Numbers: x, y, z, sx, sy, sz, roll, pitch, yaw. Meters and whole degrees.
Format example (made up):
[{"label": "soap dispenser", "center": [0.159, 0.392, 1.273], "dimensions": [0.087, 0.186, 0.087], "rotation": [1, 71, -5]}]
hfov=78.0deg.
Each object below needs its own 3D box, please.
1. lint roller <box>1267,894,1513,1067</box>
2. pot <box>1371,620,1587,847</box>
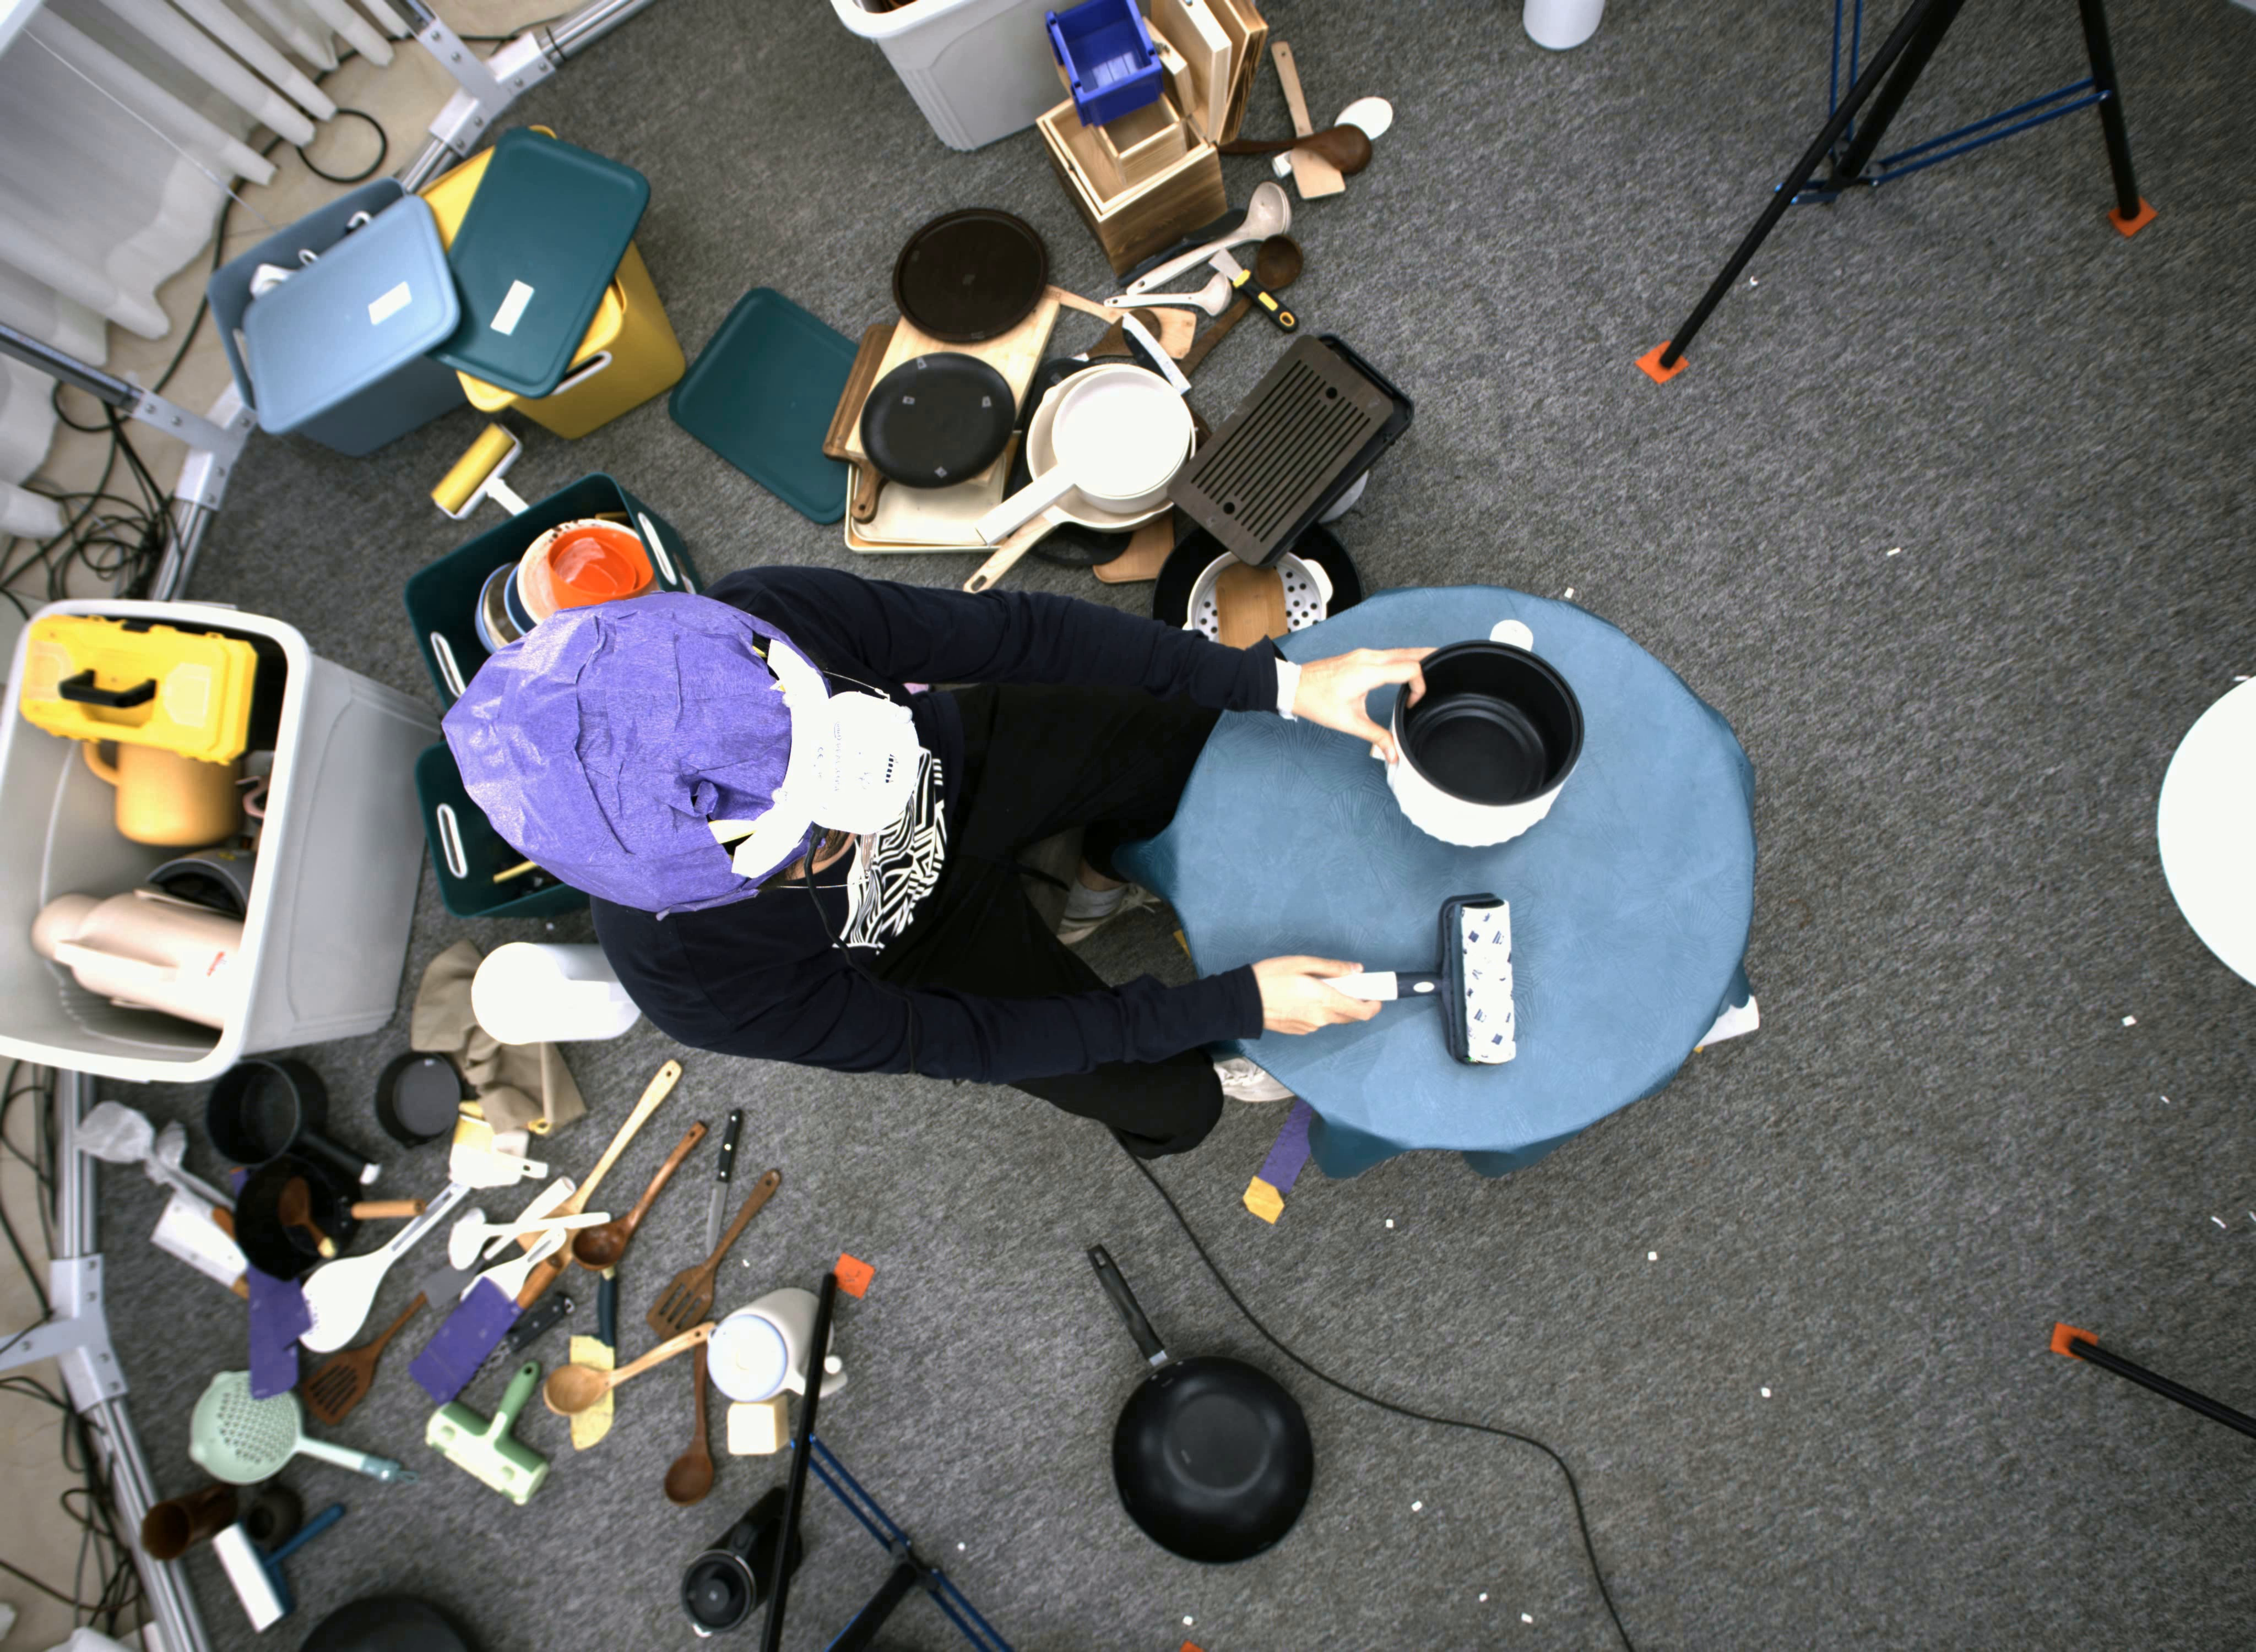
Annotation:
[{"label": "lint roller", "center": [0.264, 0.164, 1.407], "dimensions": [0.248, 0.050, 0.178], "rotation": [-6, 102, 8]}, {"label": "pot", "center": [0.344, -0.075, 1.370], "dimensions": [0.190, 0.145, 0.236], "rotation": [17, 72, 6]}]
